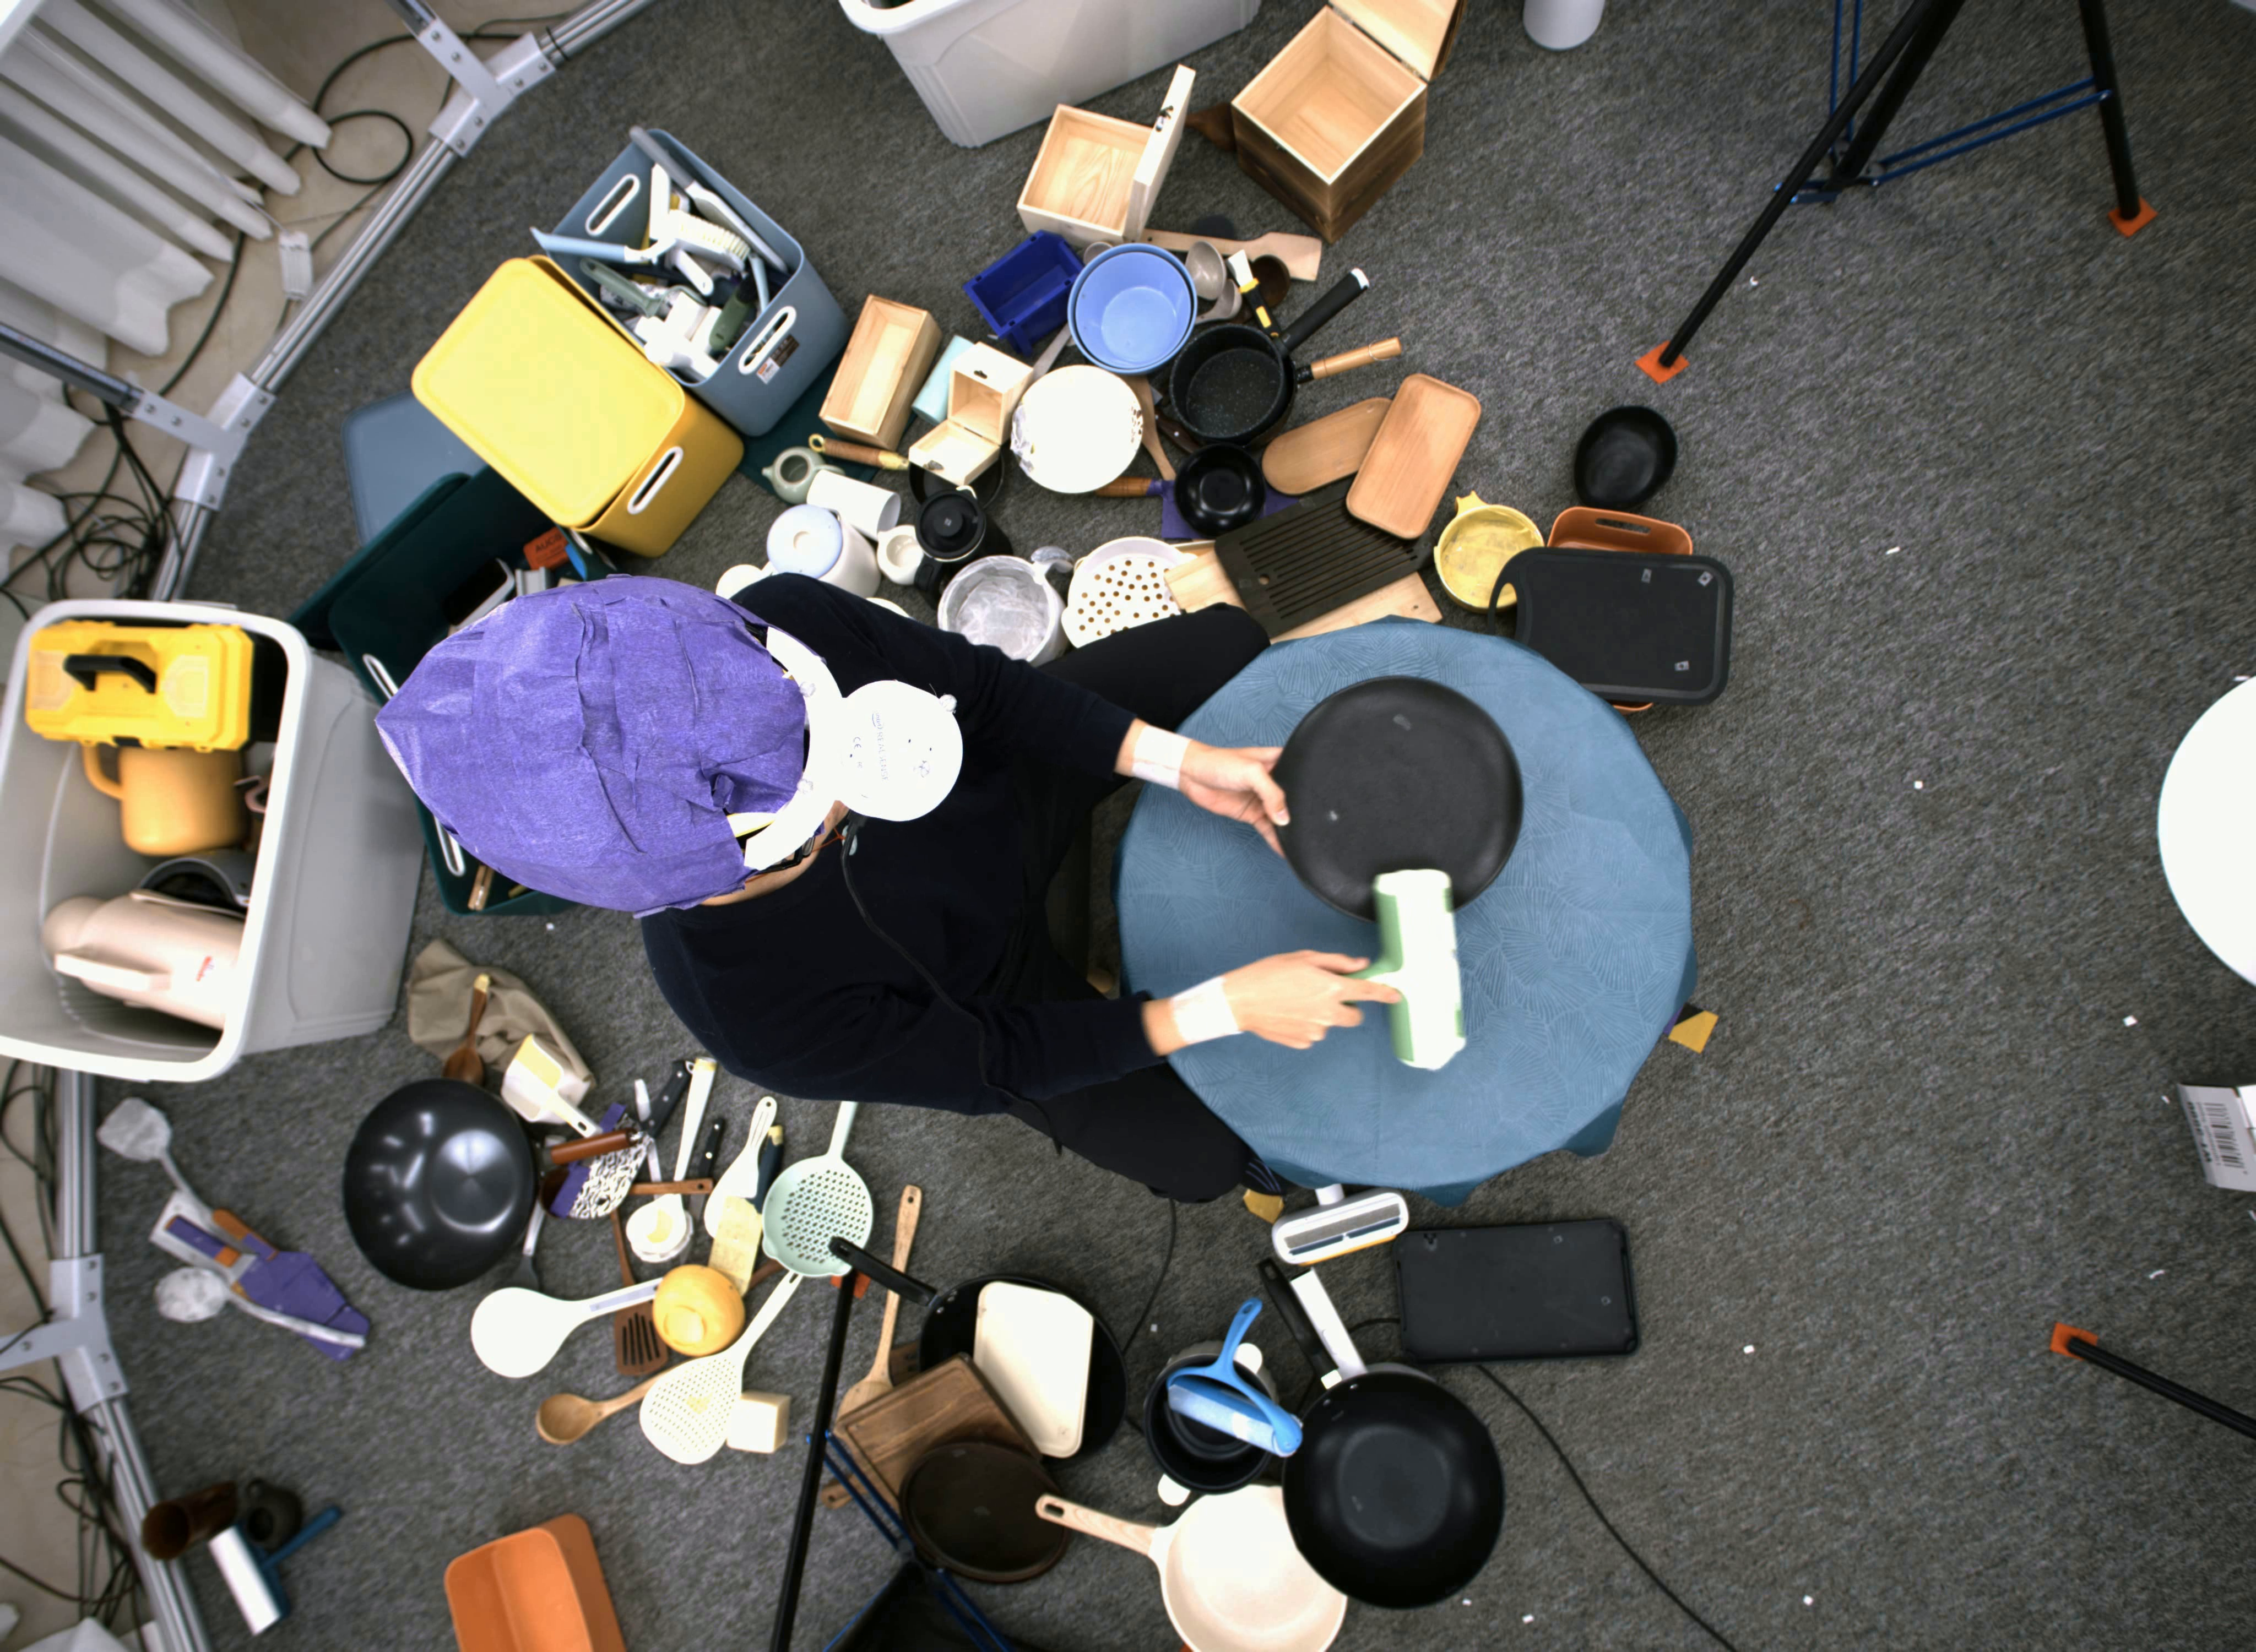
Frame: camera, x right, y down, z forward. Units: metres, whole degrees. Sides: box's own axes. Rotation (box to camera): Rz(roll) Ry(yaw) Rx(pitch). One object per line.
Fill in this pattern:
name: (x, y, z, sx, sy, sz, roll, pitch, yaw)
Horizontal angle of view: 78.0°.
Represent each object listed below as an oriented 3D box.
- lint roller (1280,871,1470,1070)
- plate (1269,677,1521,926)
lint roller: (0.239, 0.156, 1.306, 0.182, 0.081, 0.201, -18, 112, -18)
plate: (0.259, -0.025, 1.346, 0.245, 0.023, 0.244, 0, 93, 9)
